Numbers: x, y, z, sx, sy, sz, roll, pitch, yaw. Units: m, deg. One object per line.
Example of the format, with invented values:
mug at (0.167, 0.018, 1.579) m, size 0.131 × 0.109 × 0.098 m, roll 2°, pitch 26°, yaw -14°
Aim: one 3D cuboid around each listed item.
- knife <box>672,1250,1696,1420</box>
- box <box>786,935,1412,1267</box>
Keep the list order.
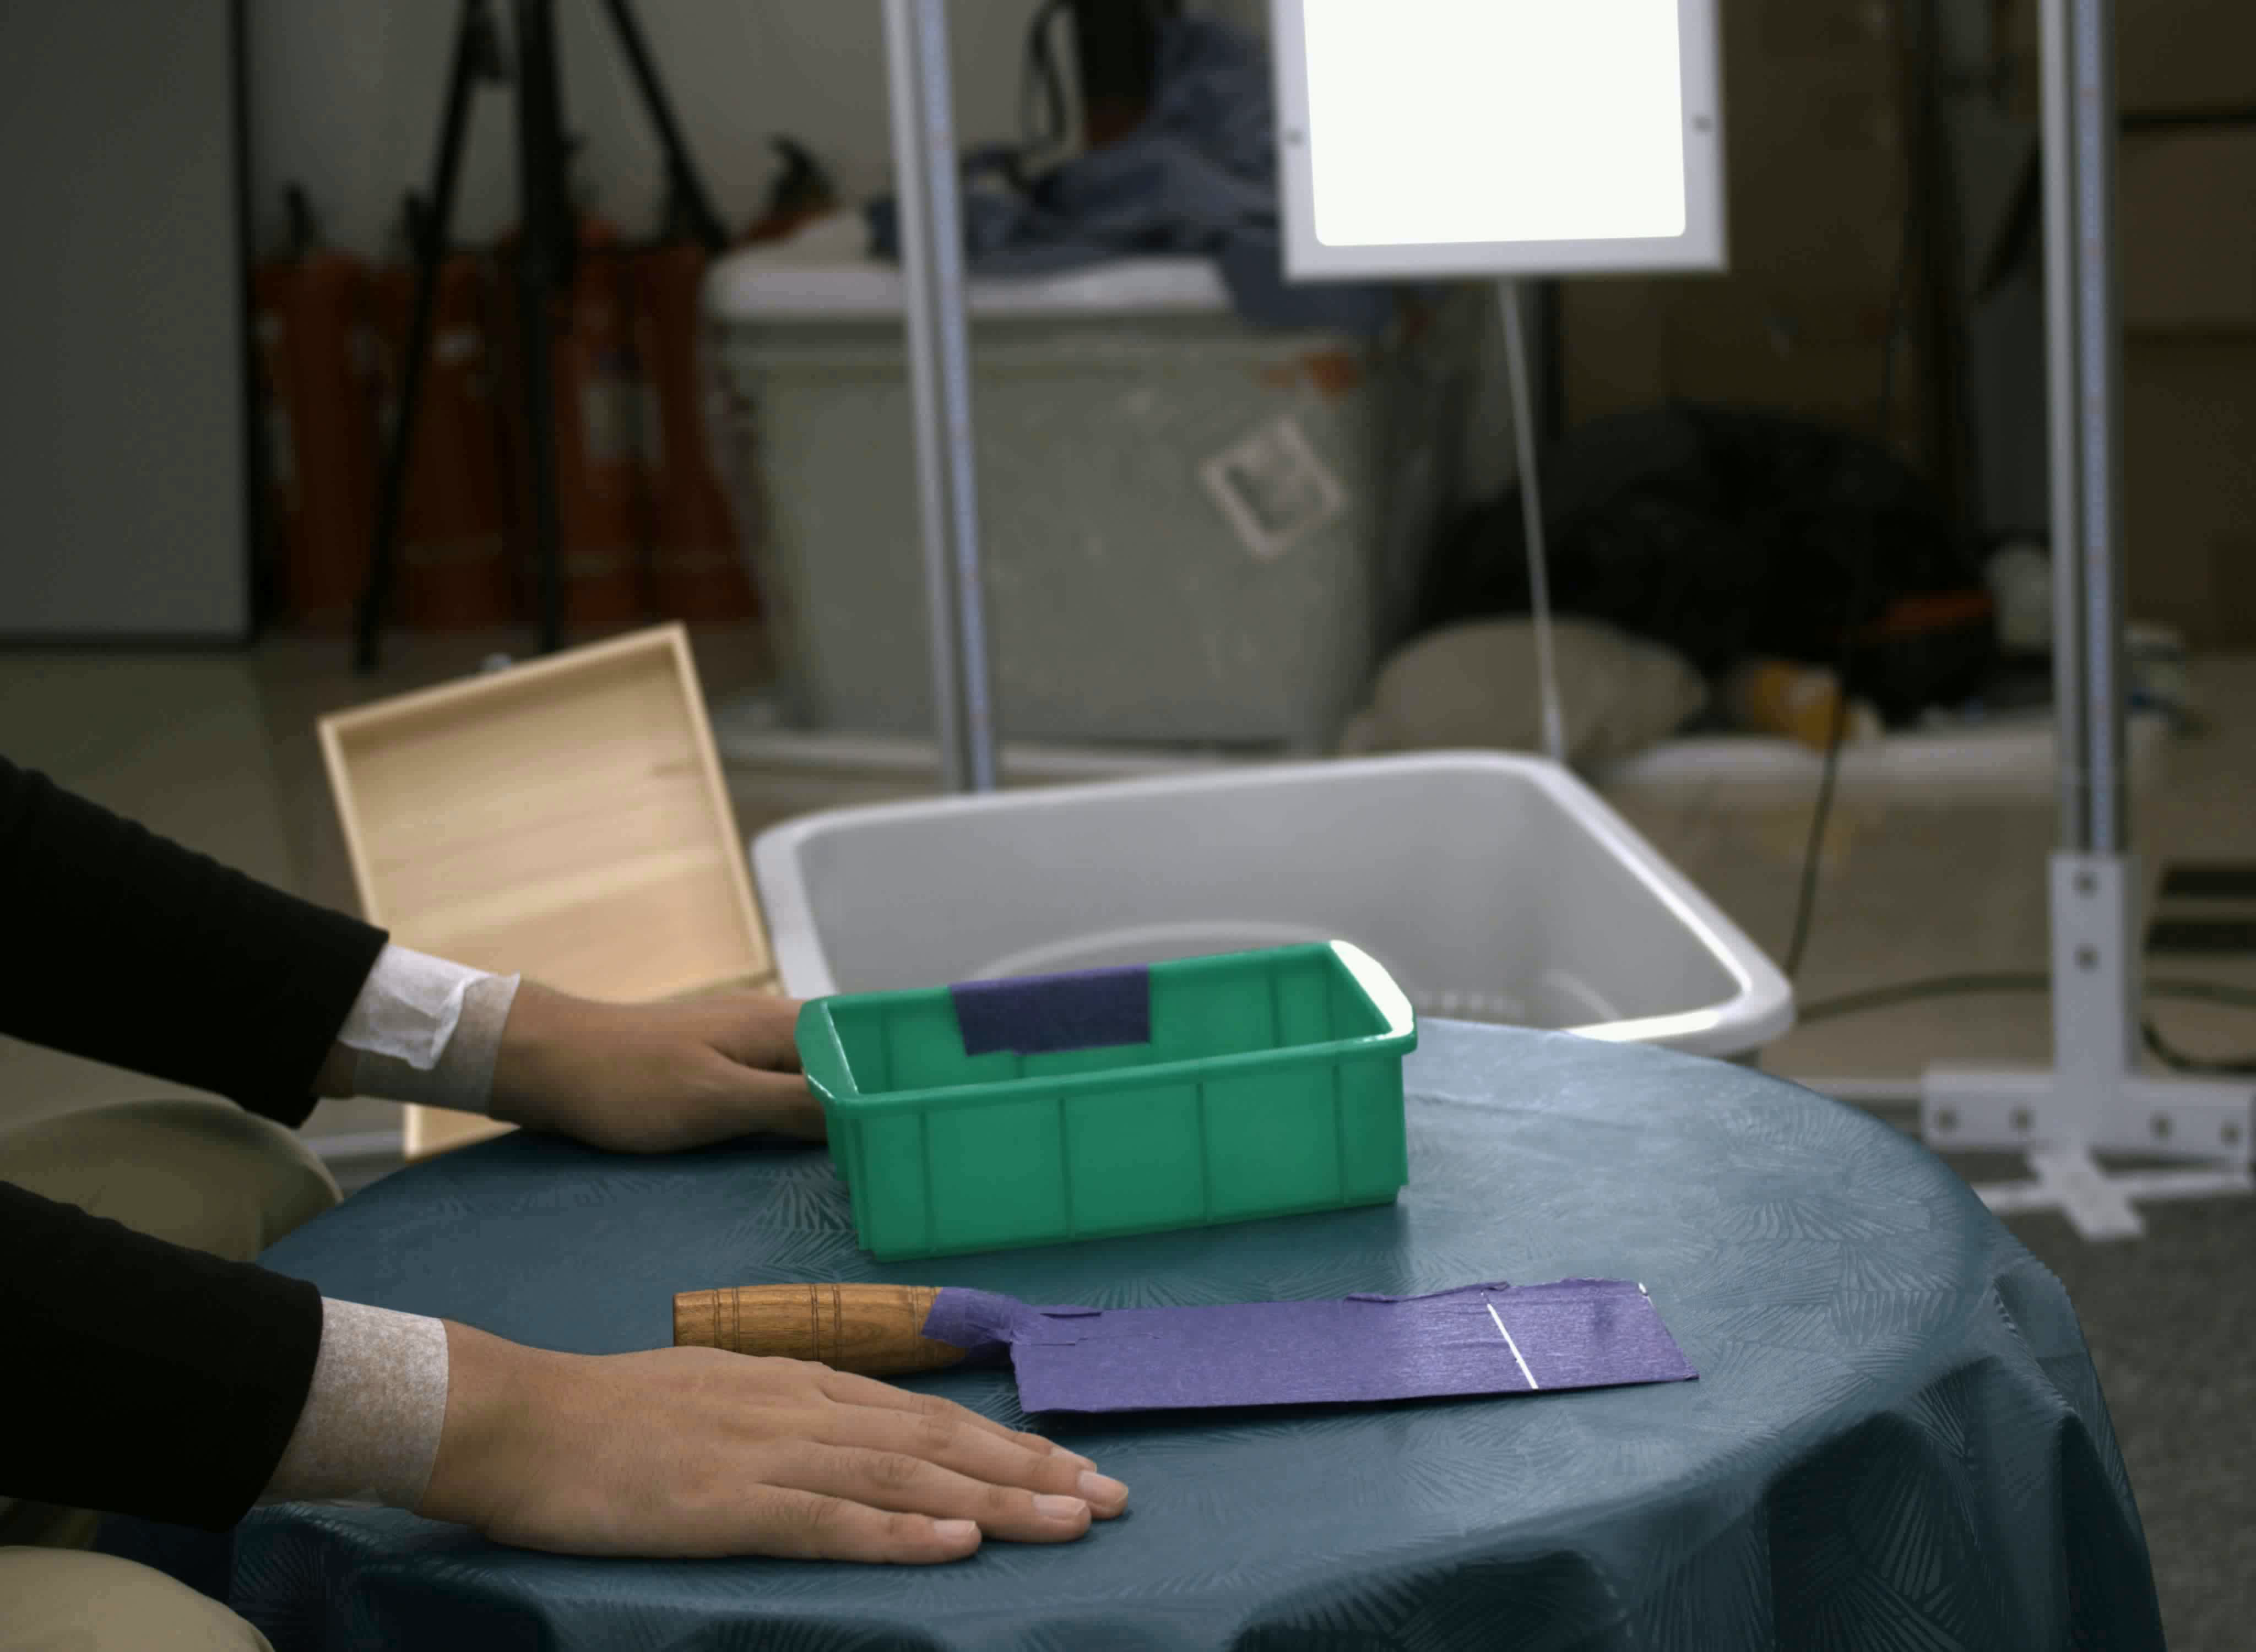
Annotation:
knife at (0.016, 0.159, 1.705) m, size 0.313 × 0.032 × 0.104 m, roll -5°, pitch 14°, yaw -2°
box at (-0.009, 0.095, 1.901) m, size 0.209 × 0.065 × 0.139 m, roll -8°, pitch 13°, yaw -6°
